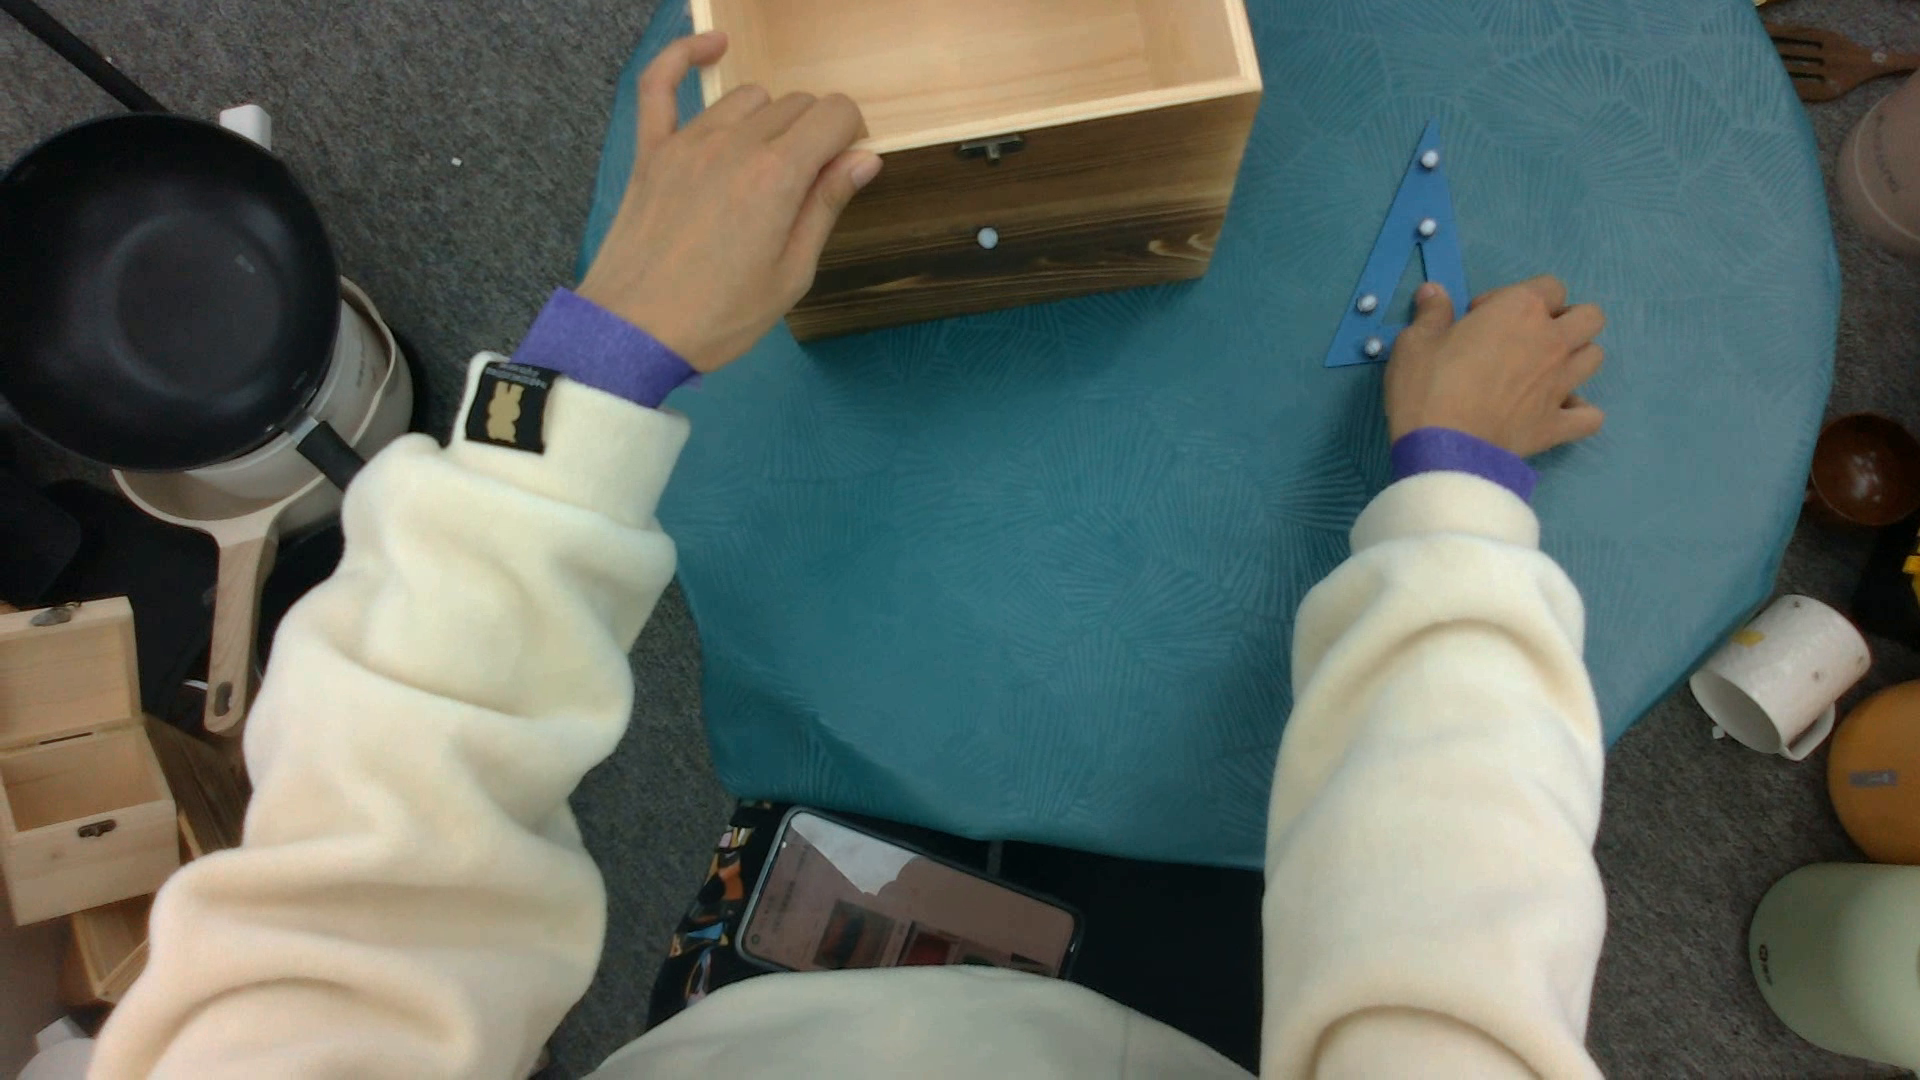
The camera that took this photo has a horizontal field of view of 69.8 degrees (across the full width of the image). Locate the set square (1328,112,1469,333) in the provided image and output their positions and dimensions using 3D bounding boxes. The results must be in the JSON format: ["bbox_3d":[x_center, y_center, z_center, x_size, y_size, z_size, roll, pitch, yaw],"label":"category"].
[{"bbox_3d":[0.230,-0.144,0.659,0.061,0.006,0.132,27,80,12],"label":"set square"}]

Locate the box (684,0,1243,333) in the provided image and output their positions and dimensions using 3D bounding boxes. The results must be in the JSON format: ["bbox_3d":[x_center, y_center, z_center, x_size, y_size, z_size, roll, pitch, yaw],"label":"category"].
[{"bbox_3d":[-0.021,-0.300,0.527,0.209,0.374,0.323,-10,76,1],"label":"box"}]
